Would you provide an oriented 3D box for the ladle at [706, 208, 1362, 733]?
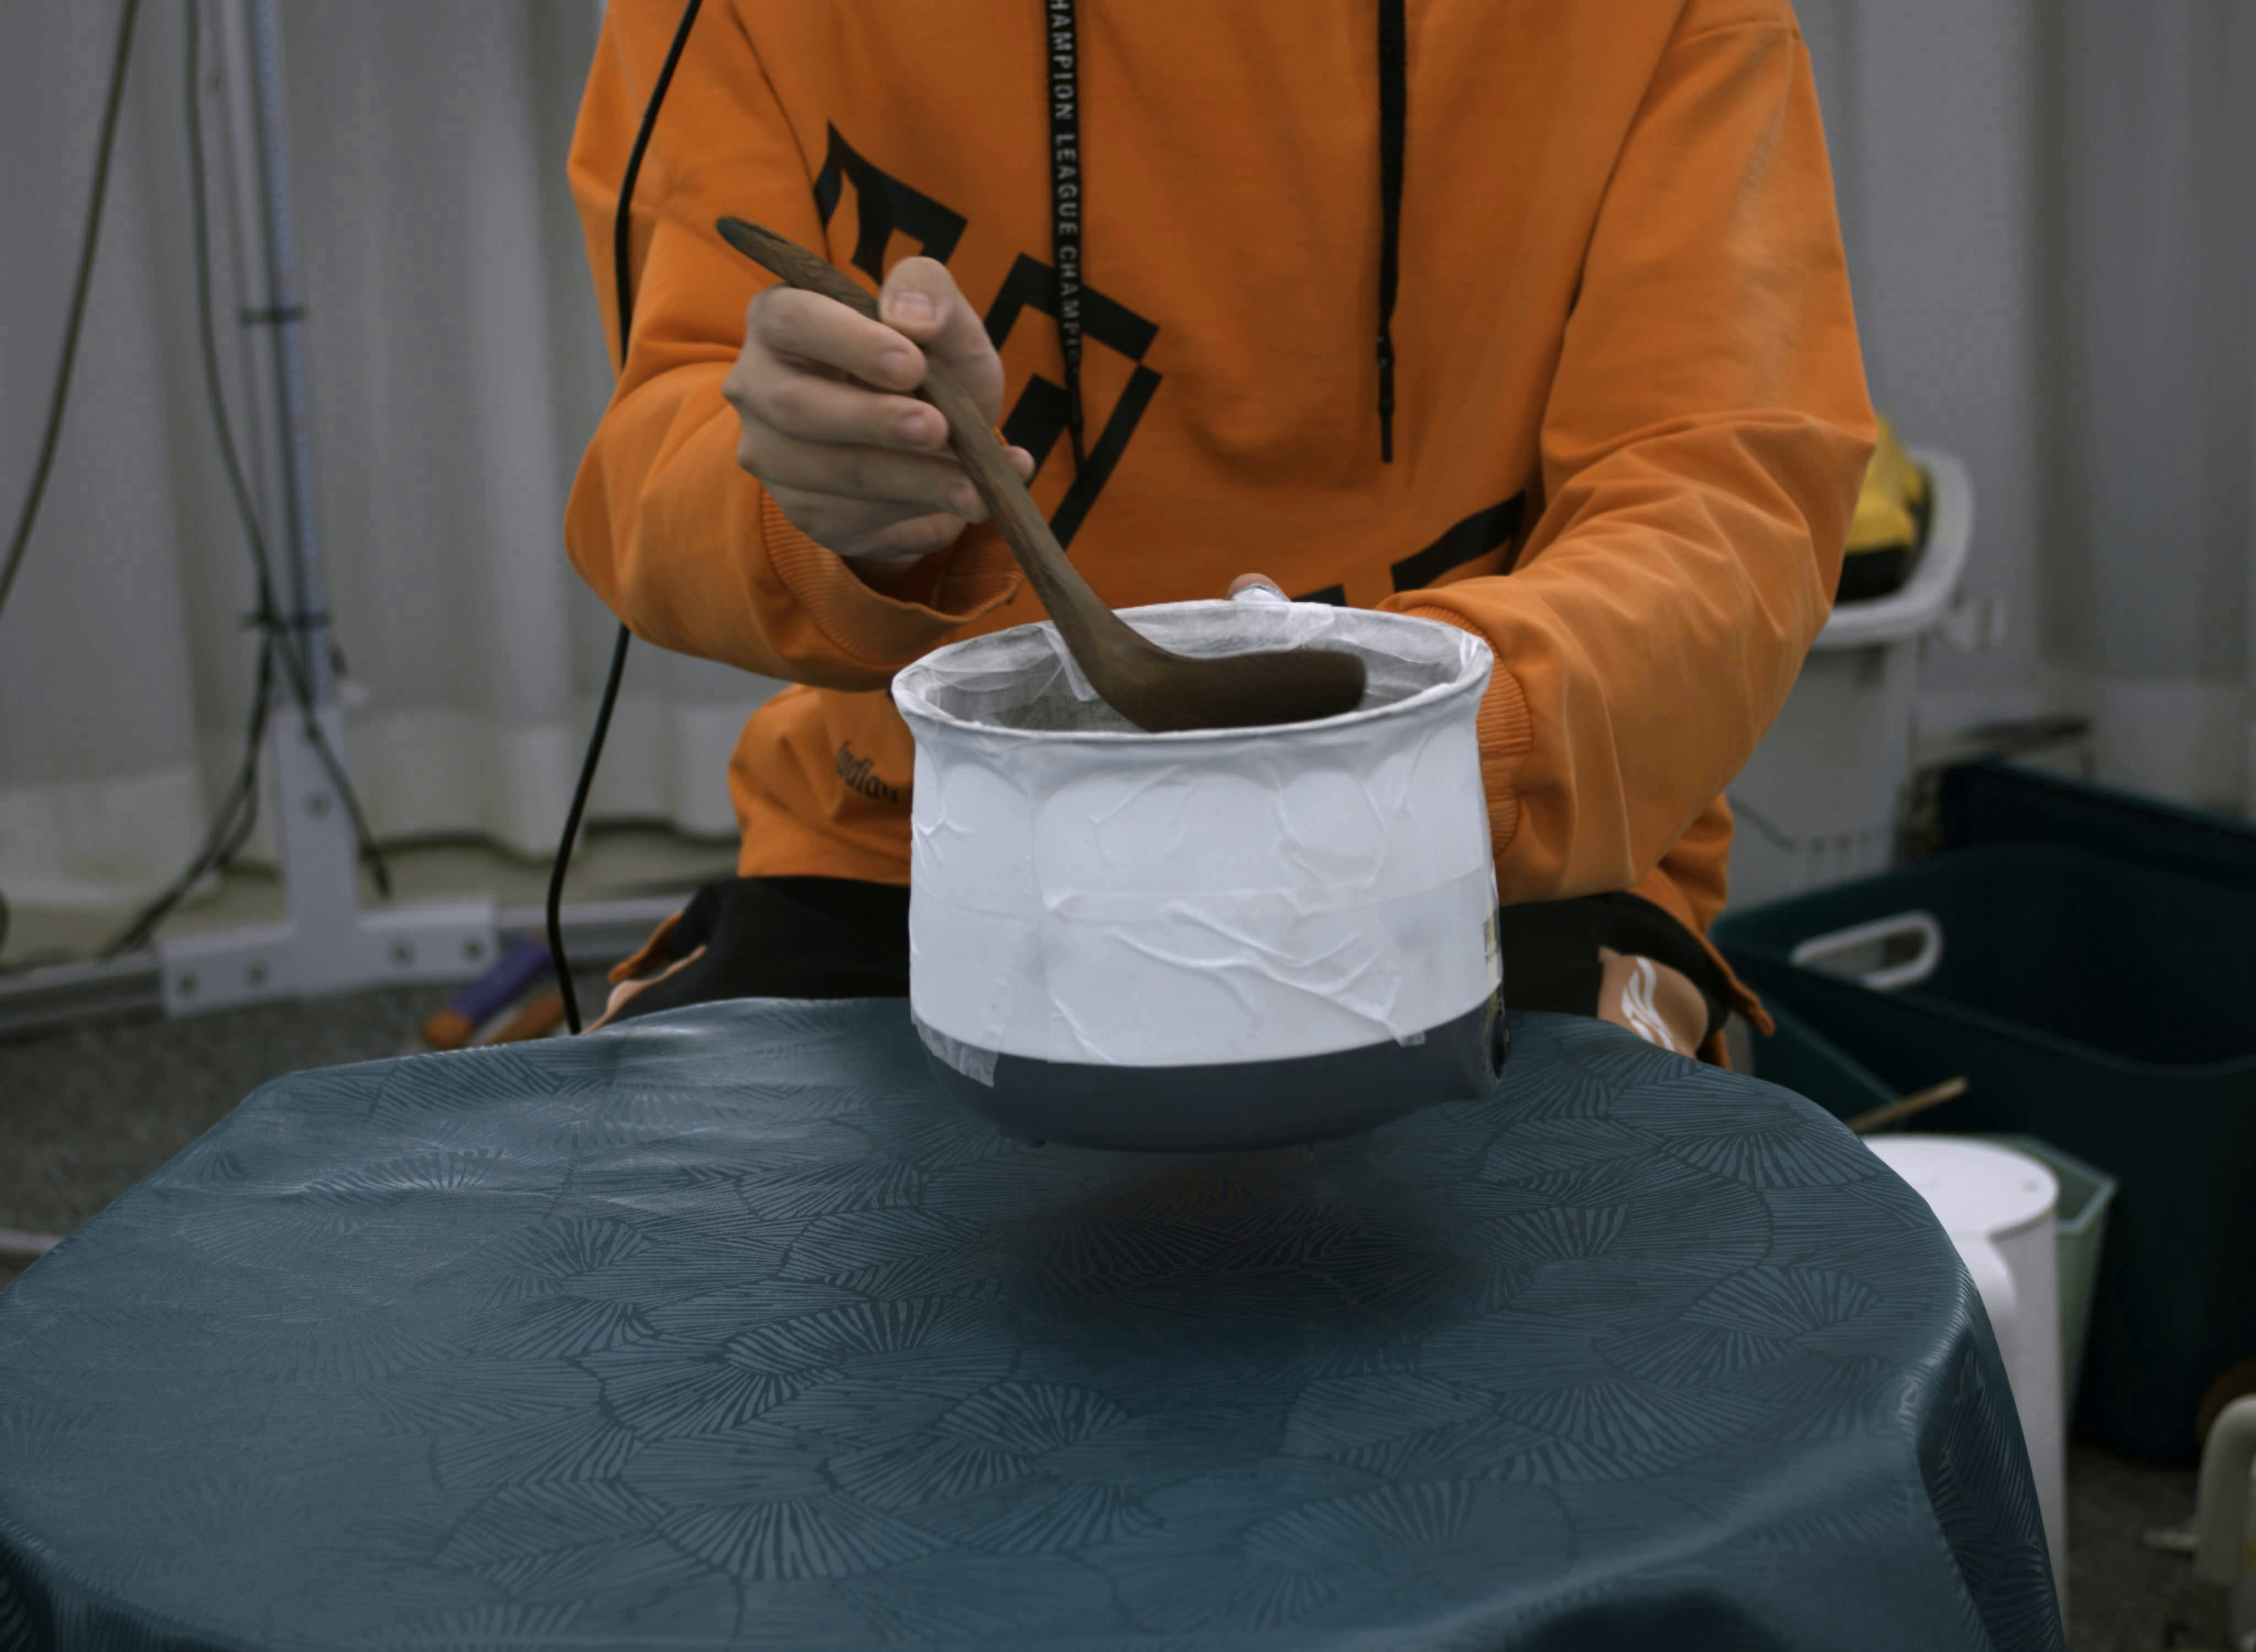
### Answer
[{"bbox_3d":[-0.031,-0.119,1.661,0.277,0.071,0.075,51,17,27],"label":"ladle"}]

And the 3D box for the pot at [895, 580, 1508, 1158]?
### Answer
[{"bbox_3d":[0.027,0.008,1.643,0.178,0.136,0.235,0,14,11],"label":"pot"}]
